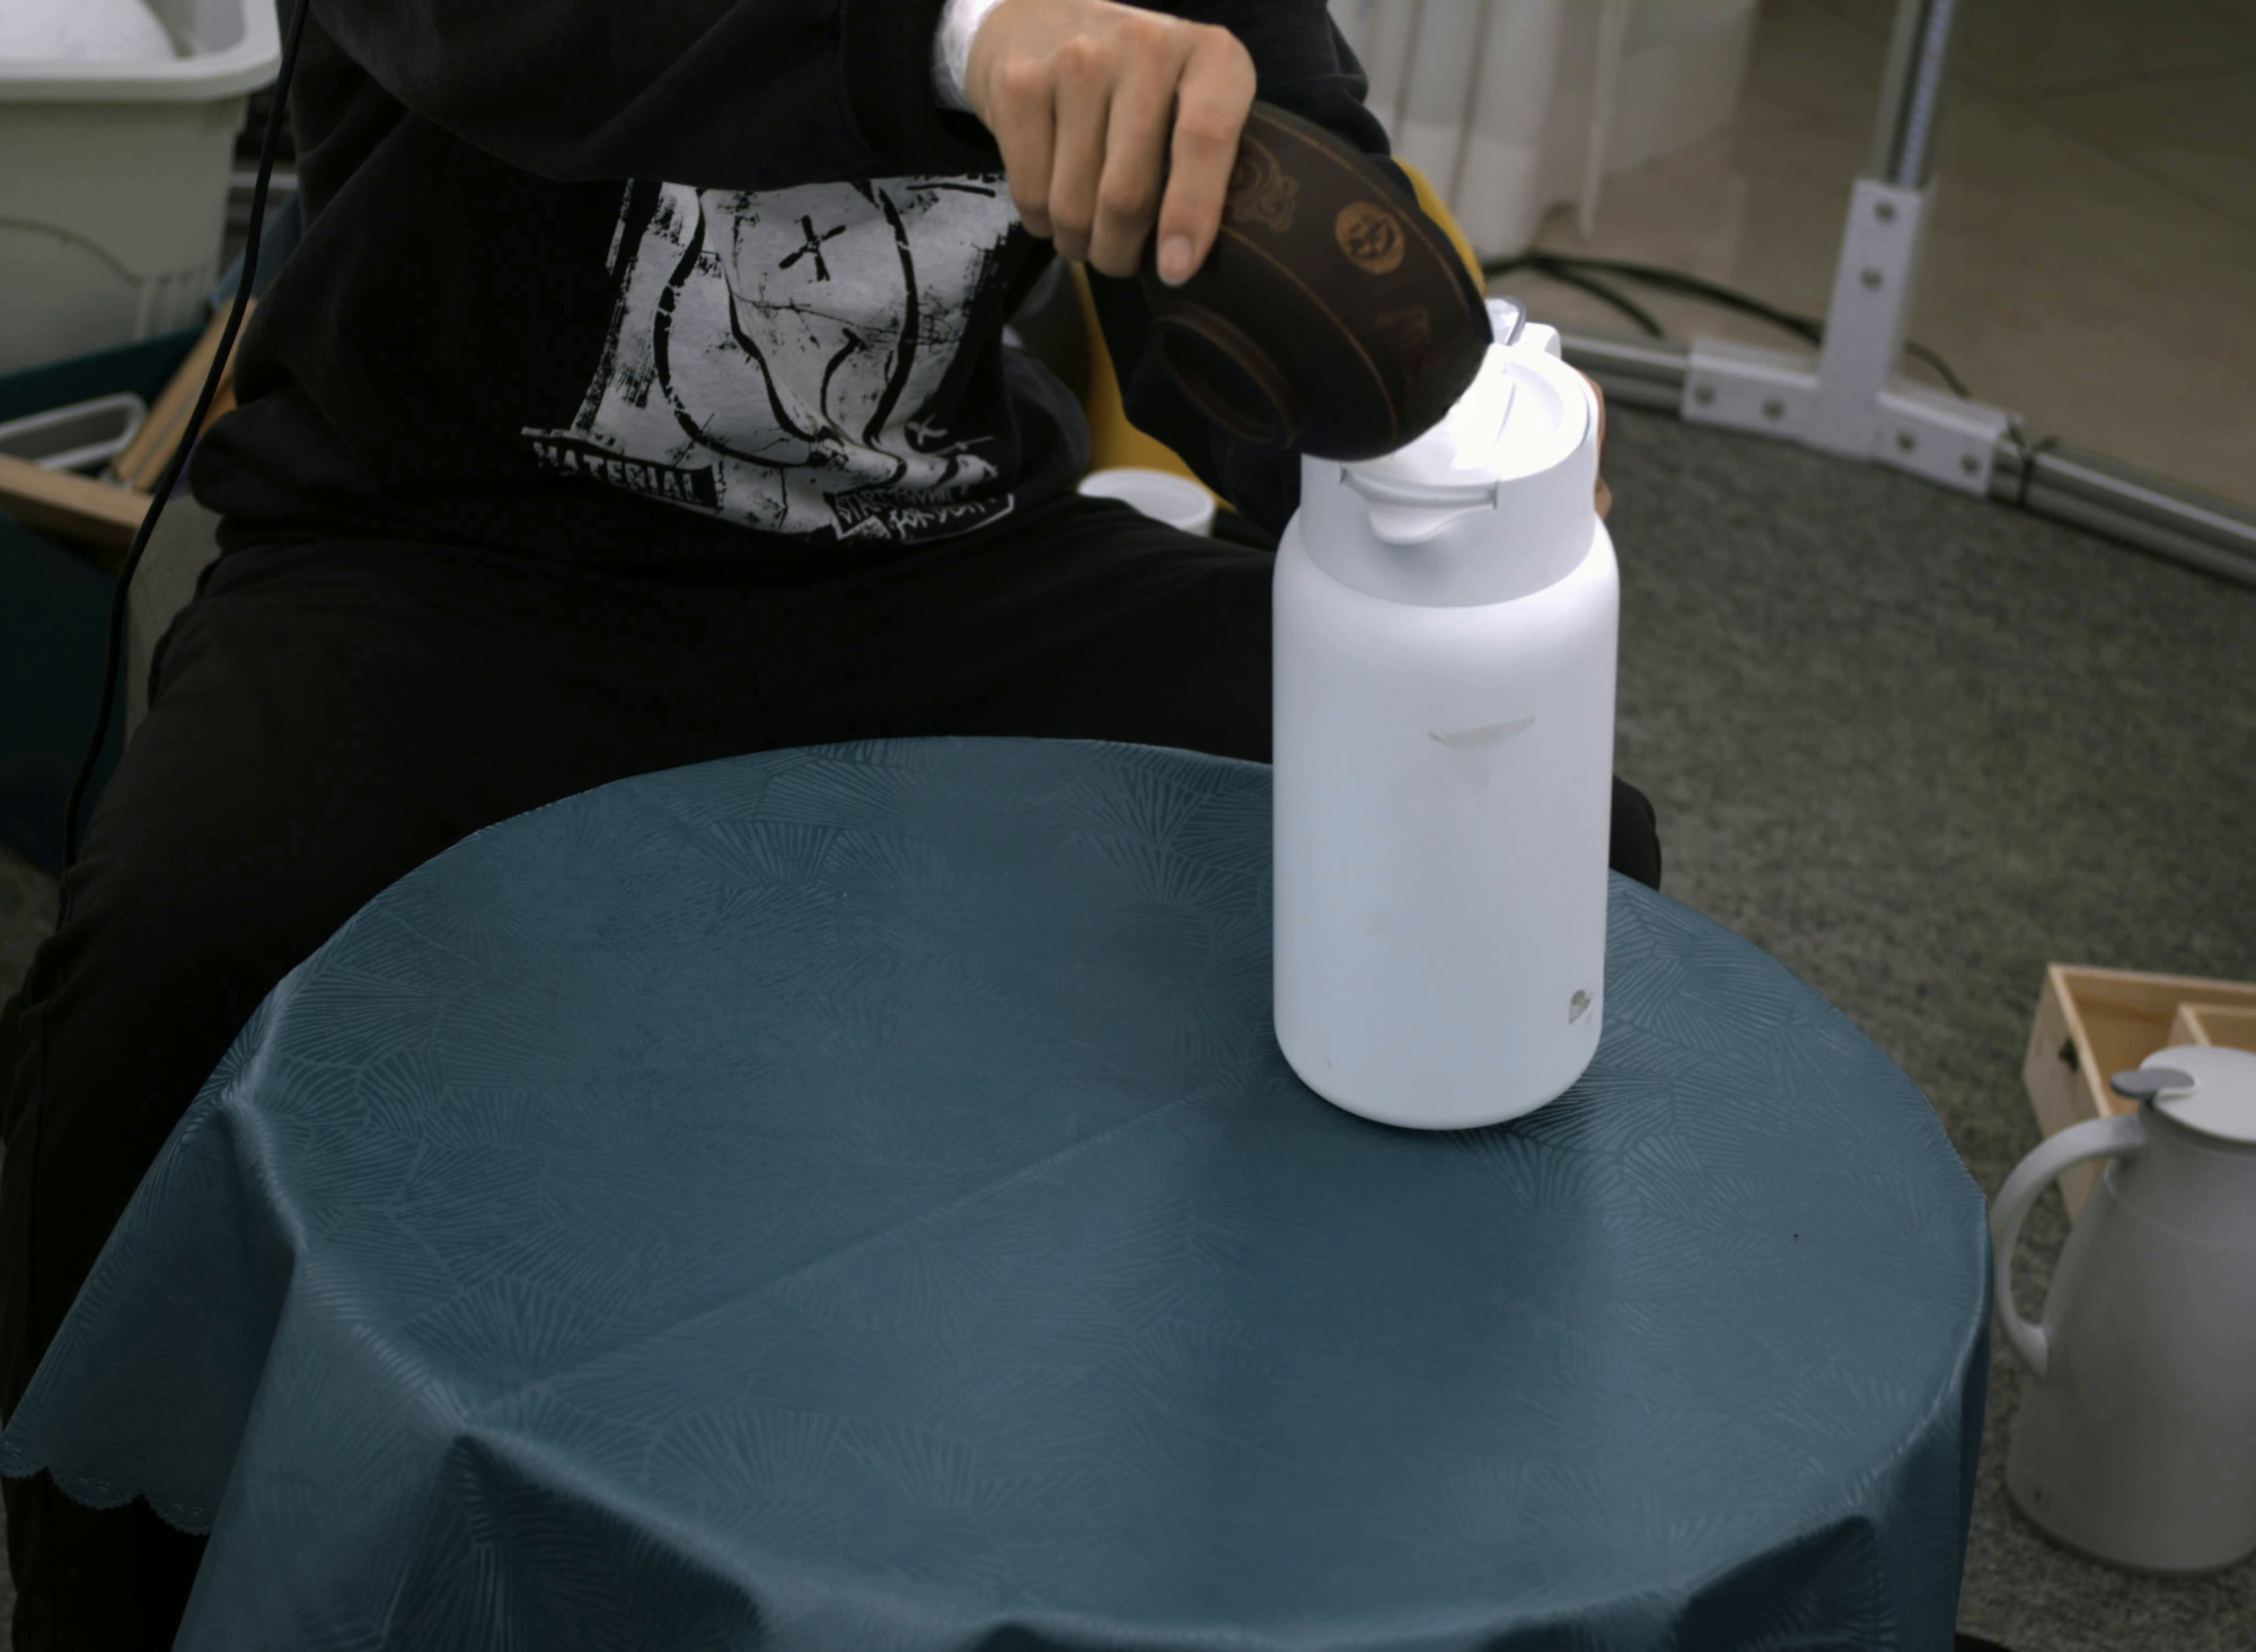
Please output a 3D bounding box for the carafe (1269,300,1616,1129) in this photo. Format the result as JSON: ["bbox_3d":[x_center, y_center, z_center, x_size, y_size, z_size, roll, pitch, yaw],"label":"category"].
[{"bbox_3d":[0.111,-0.042,1.841,0.124,0.267,0.173,6,36,15],"label":"carafe"}]

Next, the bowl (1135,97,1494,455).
[{"bbox_3d":[0.050,-0.164,1.677,0.119,0.117,0.070,29,68,36],"label":"bowl"}]
